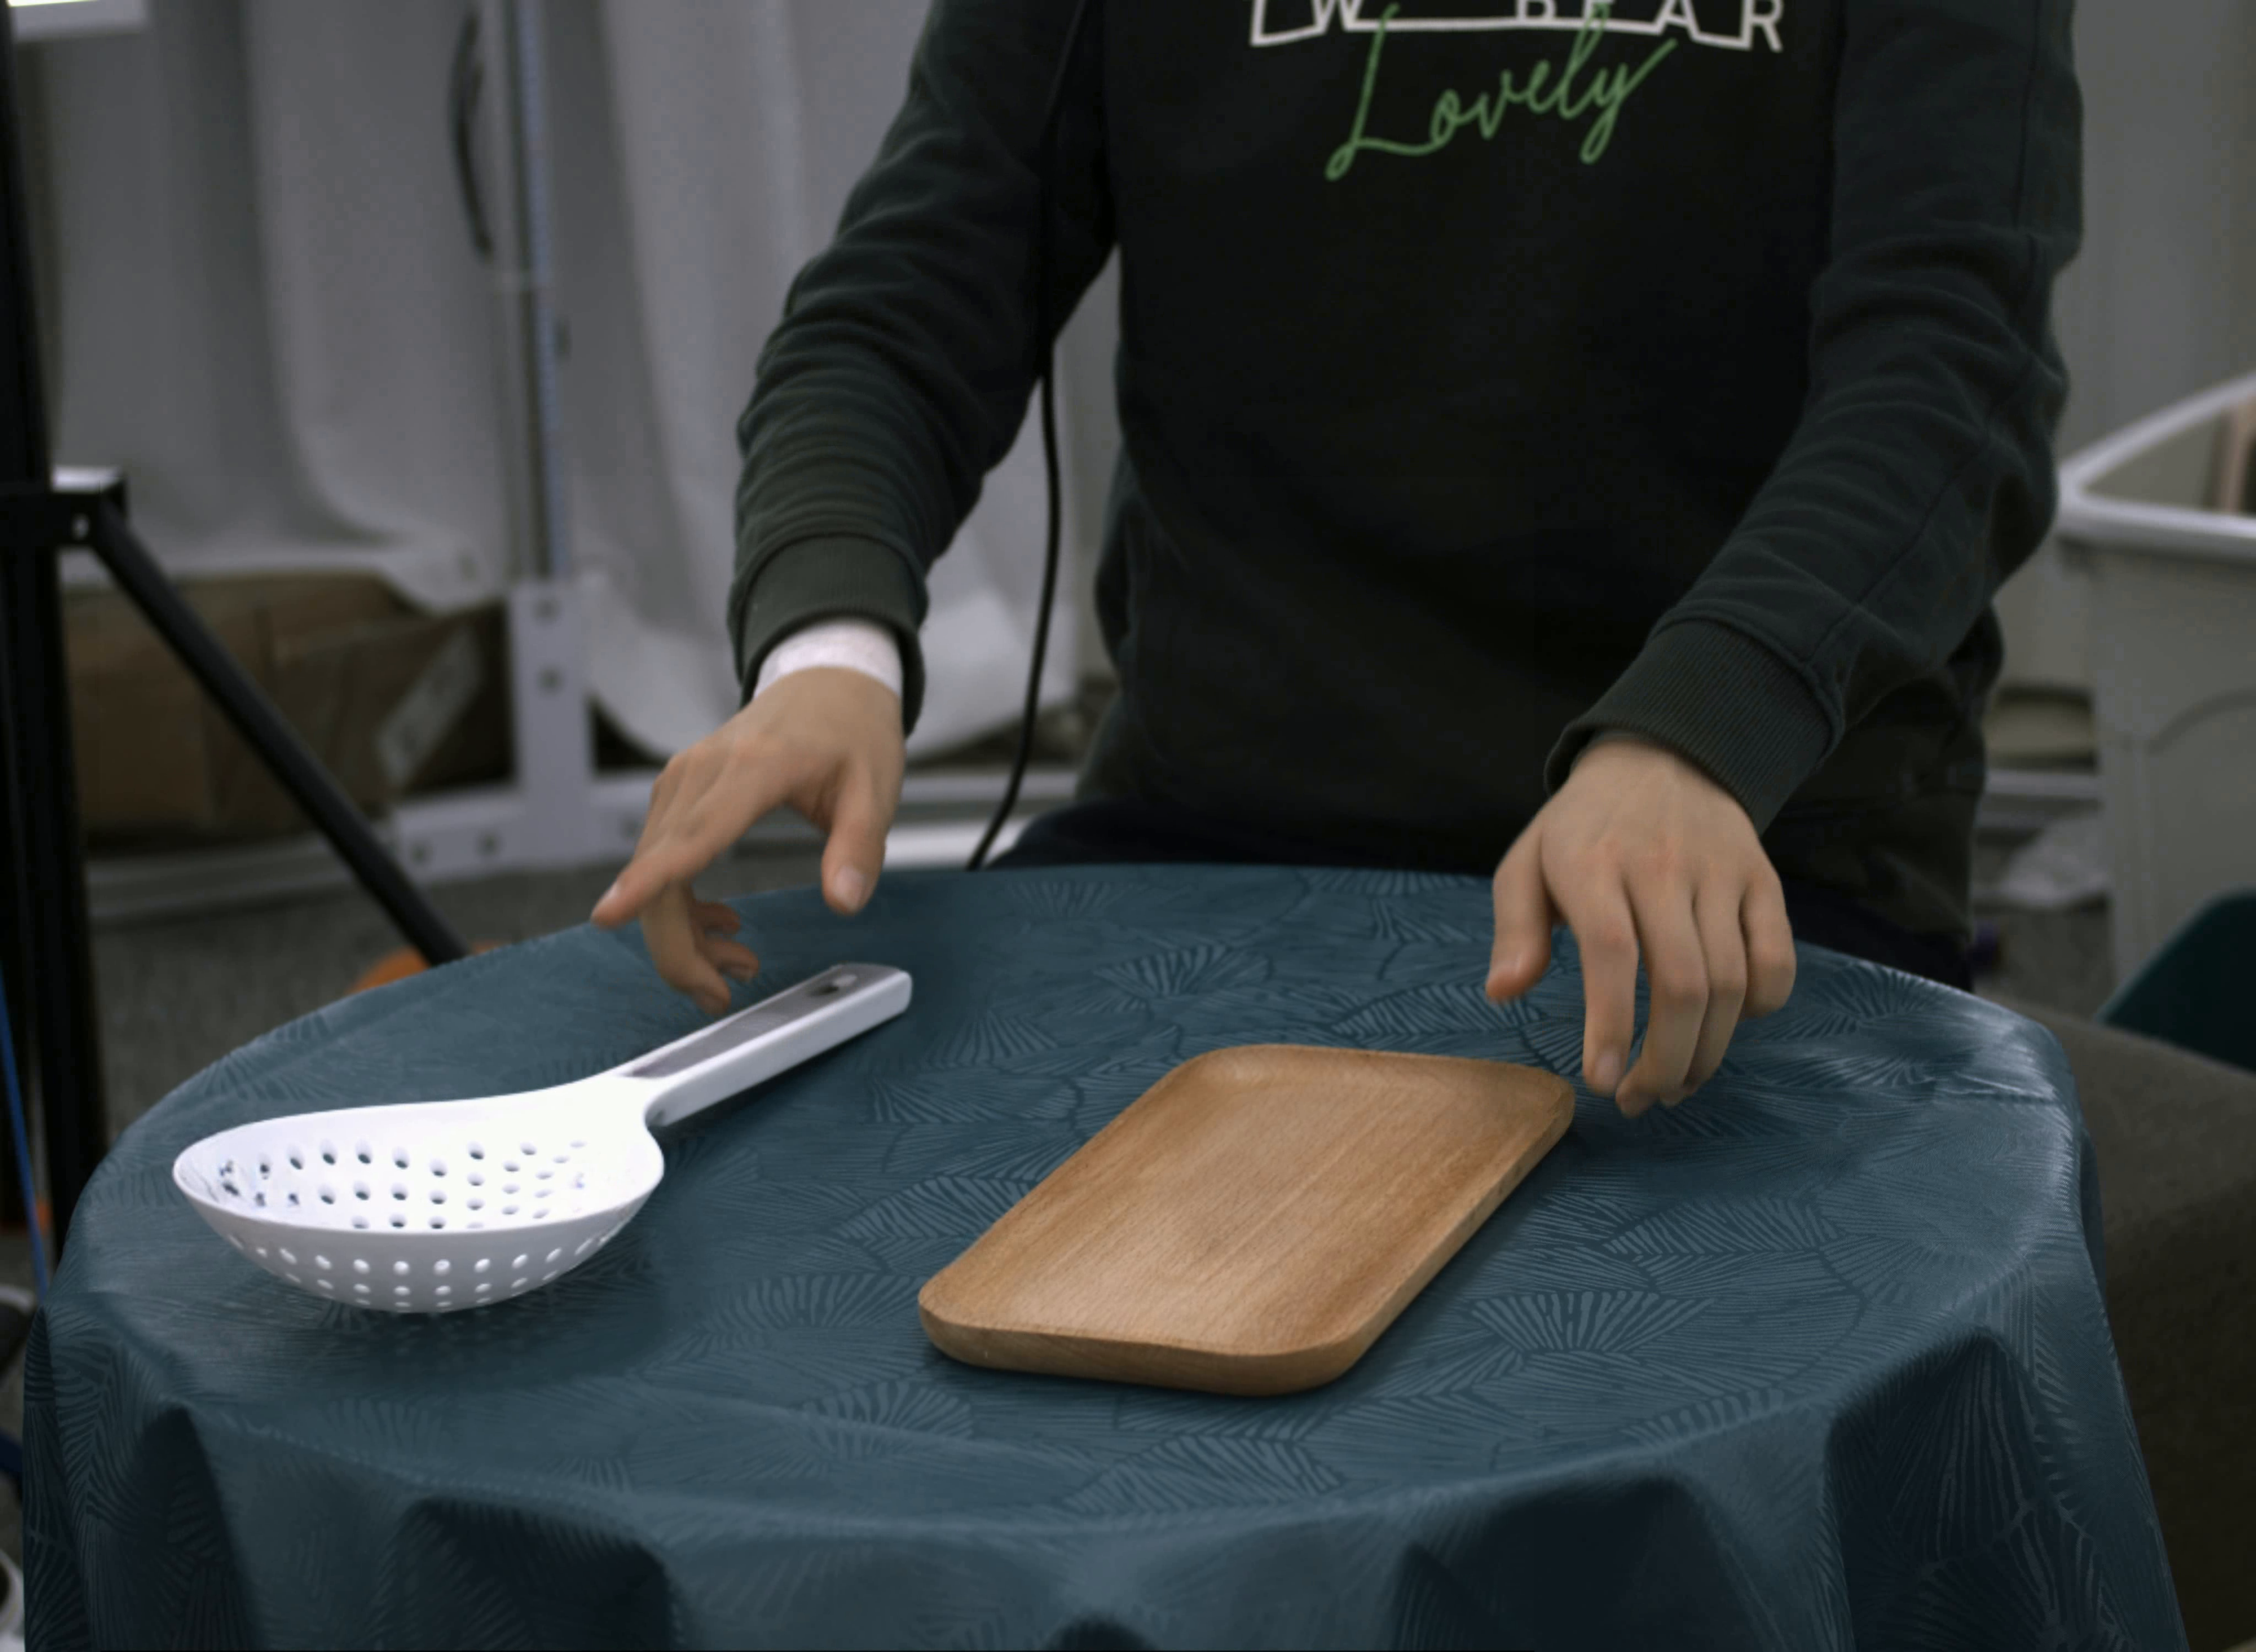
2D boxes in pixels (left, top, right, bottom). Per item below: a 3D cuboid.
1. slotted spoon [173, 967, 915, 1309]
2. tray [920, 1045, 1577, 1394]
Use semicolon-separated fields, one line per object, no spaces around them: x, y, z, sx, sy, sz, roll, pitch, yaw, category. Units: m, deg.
-0.153;0.083;1.588;0.138;0.046;0.344;8;18;24;slotted spoon
0.039;0.109;1.516;0.132;0.023;0.247;6;17;21;tray
